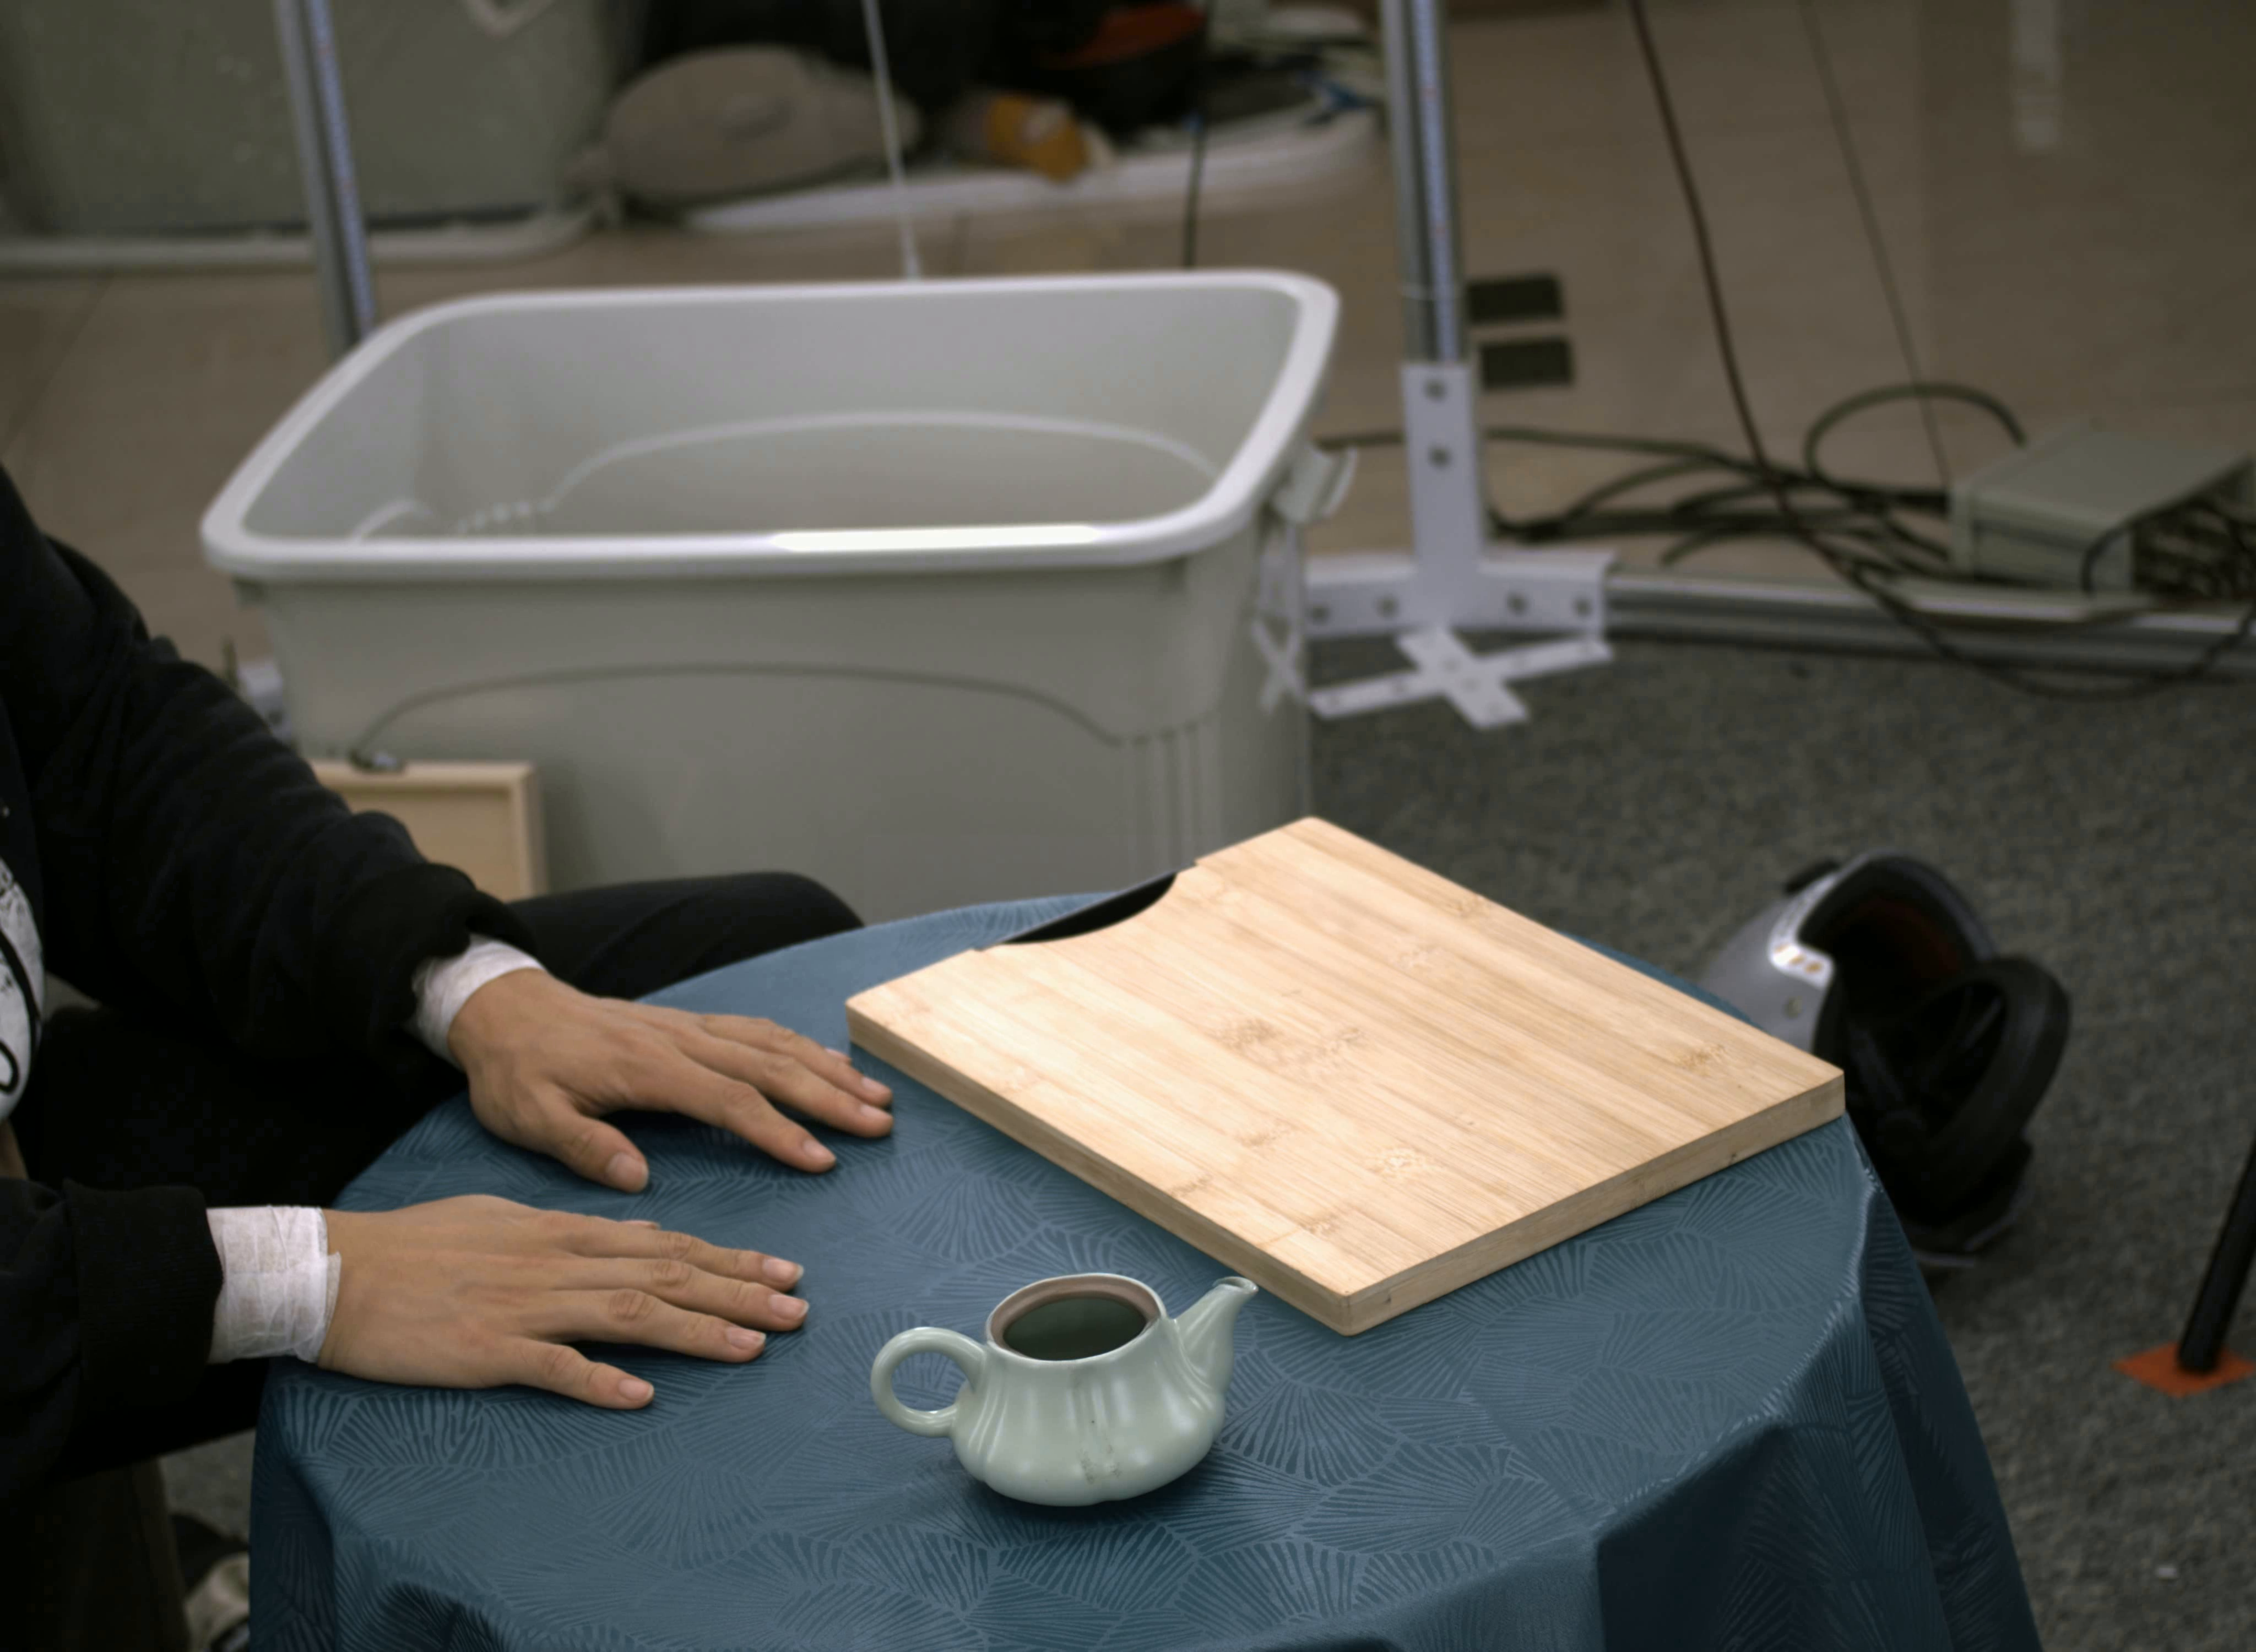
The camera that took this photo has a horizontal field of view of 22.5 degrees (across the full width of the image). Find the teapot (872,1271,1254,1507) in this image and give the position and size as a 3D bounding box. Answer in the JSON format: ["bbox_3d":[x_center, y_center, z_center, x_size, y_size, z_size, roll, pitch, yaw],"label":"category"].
[{"bbox_3d":[-0.020,0.194,1.965,0.136,0.062,0.095,-10,27,-8],"label":"teapot"}]

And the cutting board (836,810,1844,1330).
[{"bbox_3d":[0.076,0.089,2.220,0.249,0.024,0.345,-22,29,-30],"label":"cutting board"}]
